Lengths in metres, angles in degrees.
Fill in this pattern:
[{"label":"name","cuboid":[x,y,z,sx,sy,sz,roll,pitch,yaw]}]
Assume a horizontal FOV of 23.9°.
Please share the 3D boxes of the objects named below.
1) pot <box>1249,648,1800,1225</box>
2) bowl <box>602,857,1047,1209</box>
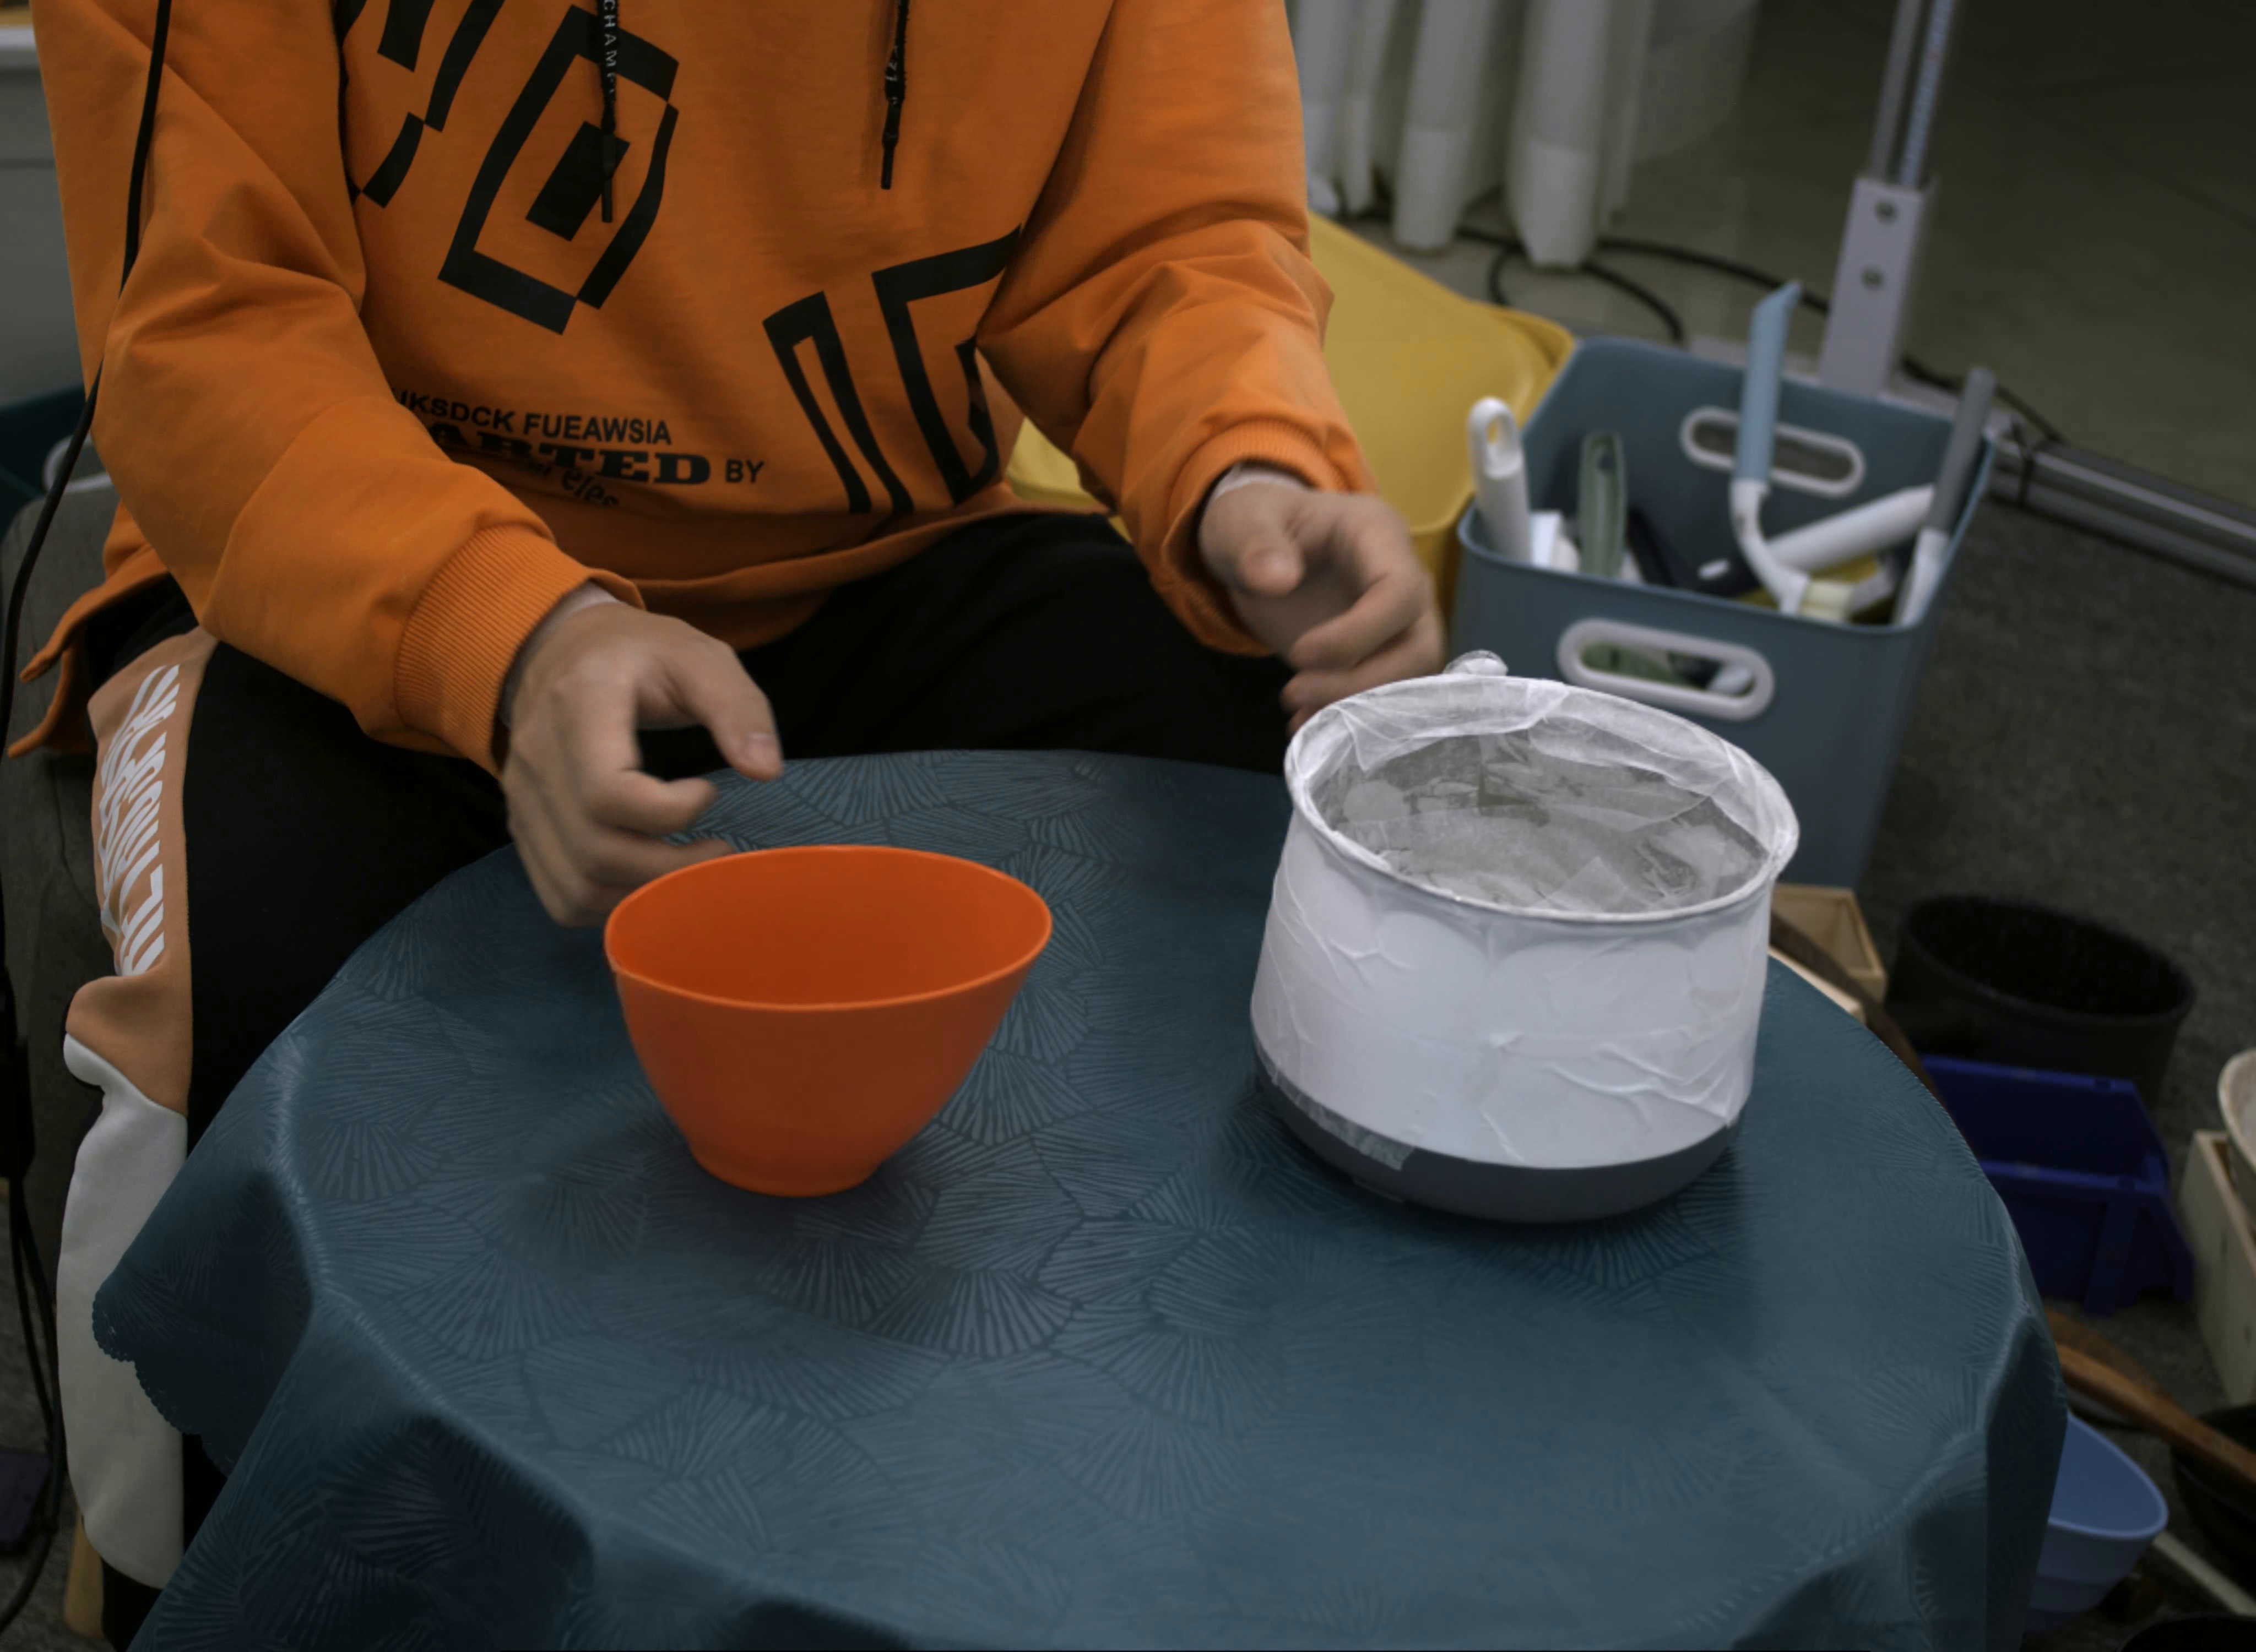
[{"label":"pot","cuboid":[0.129,0.031,1.861,0.178,0.136,0.235,1,28,-12]},{"label":"bowl","cuboid":[-0.105,0.072,1.776,0.147,0.104,0.149,5,25,-3]}]
